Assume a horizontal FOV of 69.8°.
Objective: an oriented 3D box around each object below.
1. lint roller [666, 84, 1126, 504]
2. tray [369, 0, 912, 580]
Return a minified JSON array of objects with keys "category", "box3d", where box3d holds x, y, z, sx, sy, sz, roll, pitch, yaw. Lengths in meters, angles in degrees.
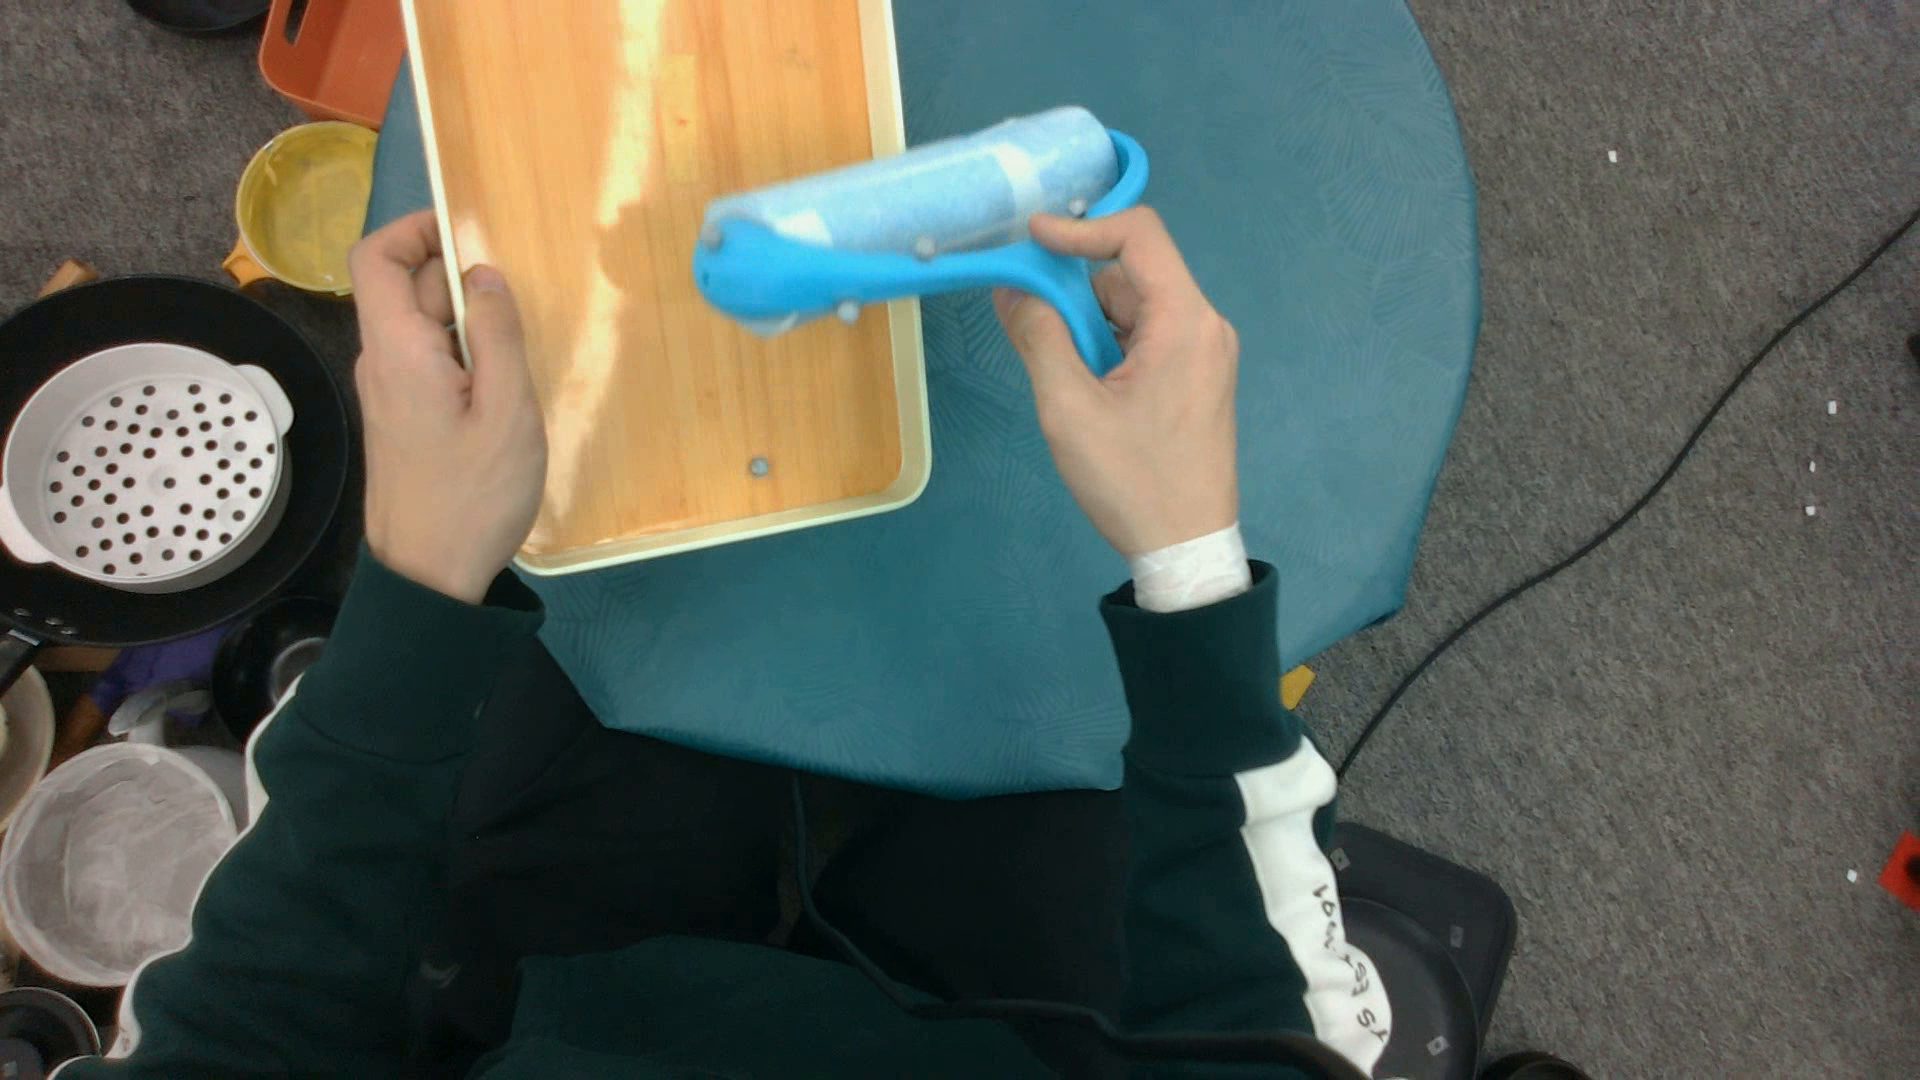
[{"category":"lint roller","box3d":[0.015,-0.099,0.551,0.180,0.067,0.230,46,45,8]},{"category":"tray","box3d":[-0.123,-0.145,0.560,0.192,0.027,0.299,-13,106,-26]}]
